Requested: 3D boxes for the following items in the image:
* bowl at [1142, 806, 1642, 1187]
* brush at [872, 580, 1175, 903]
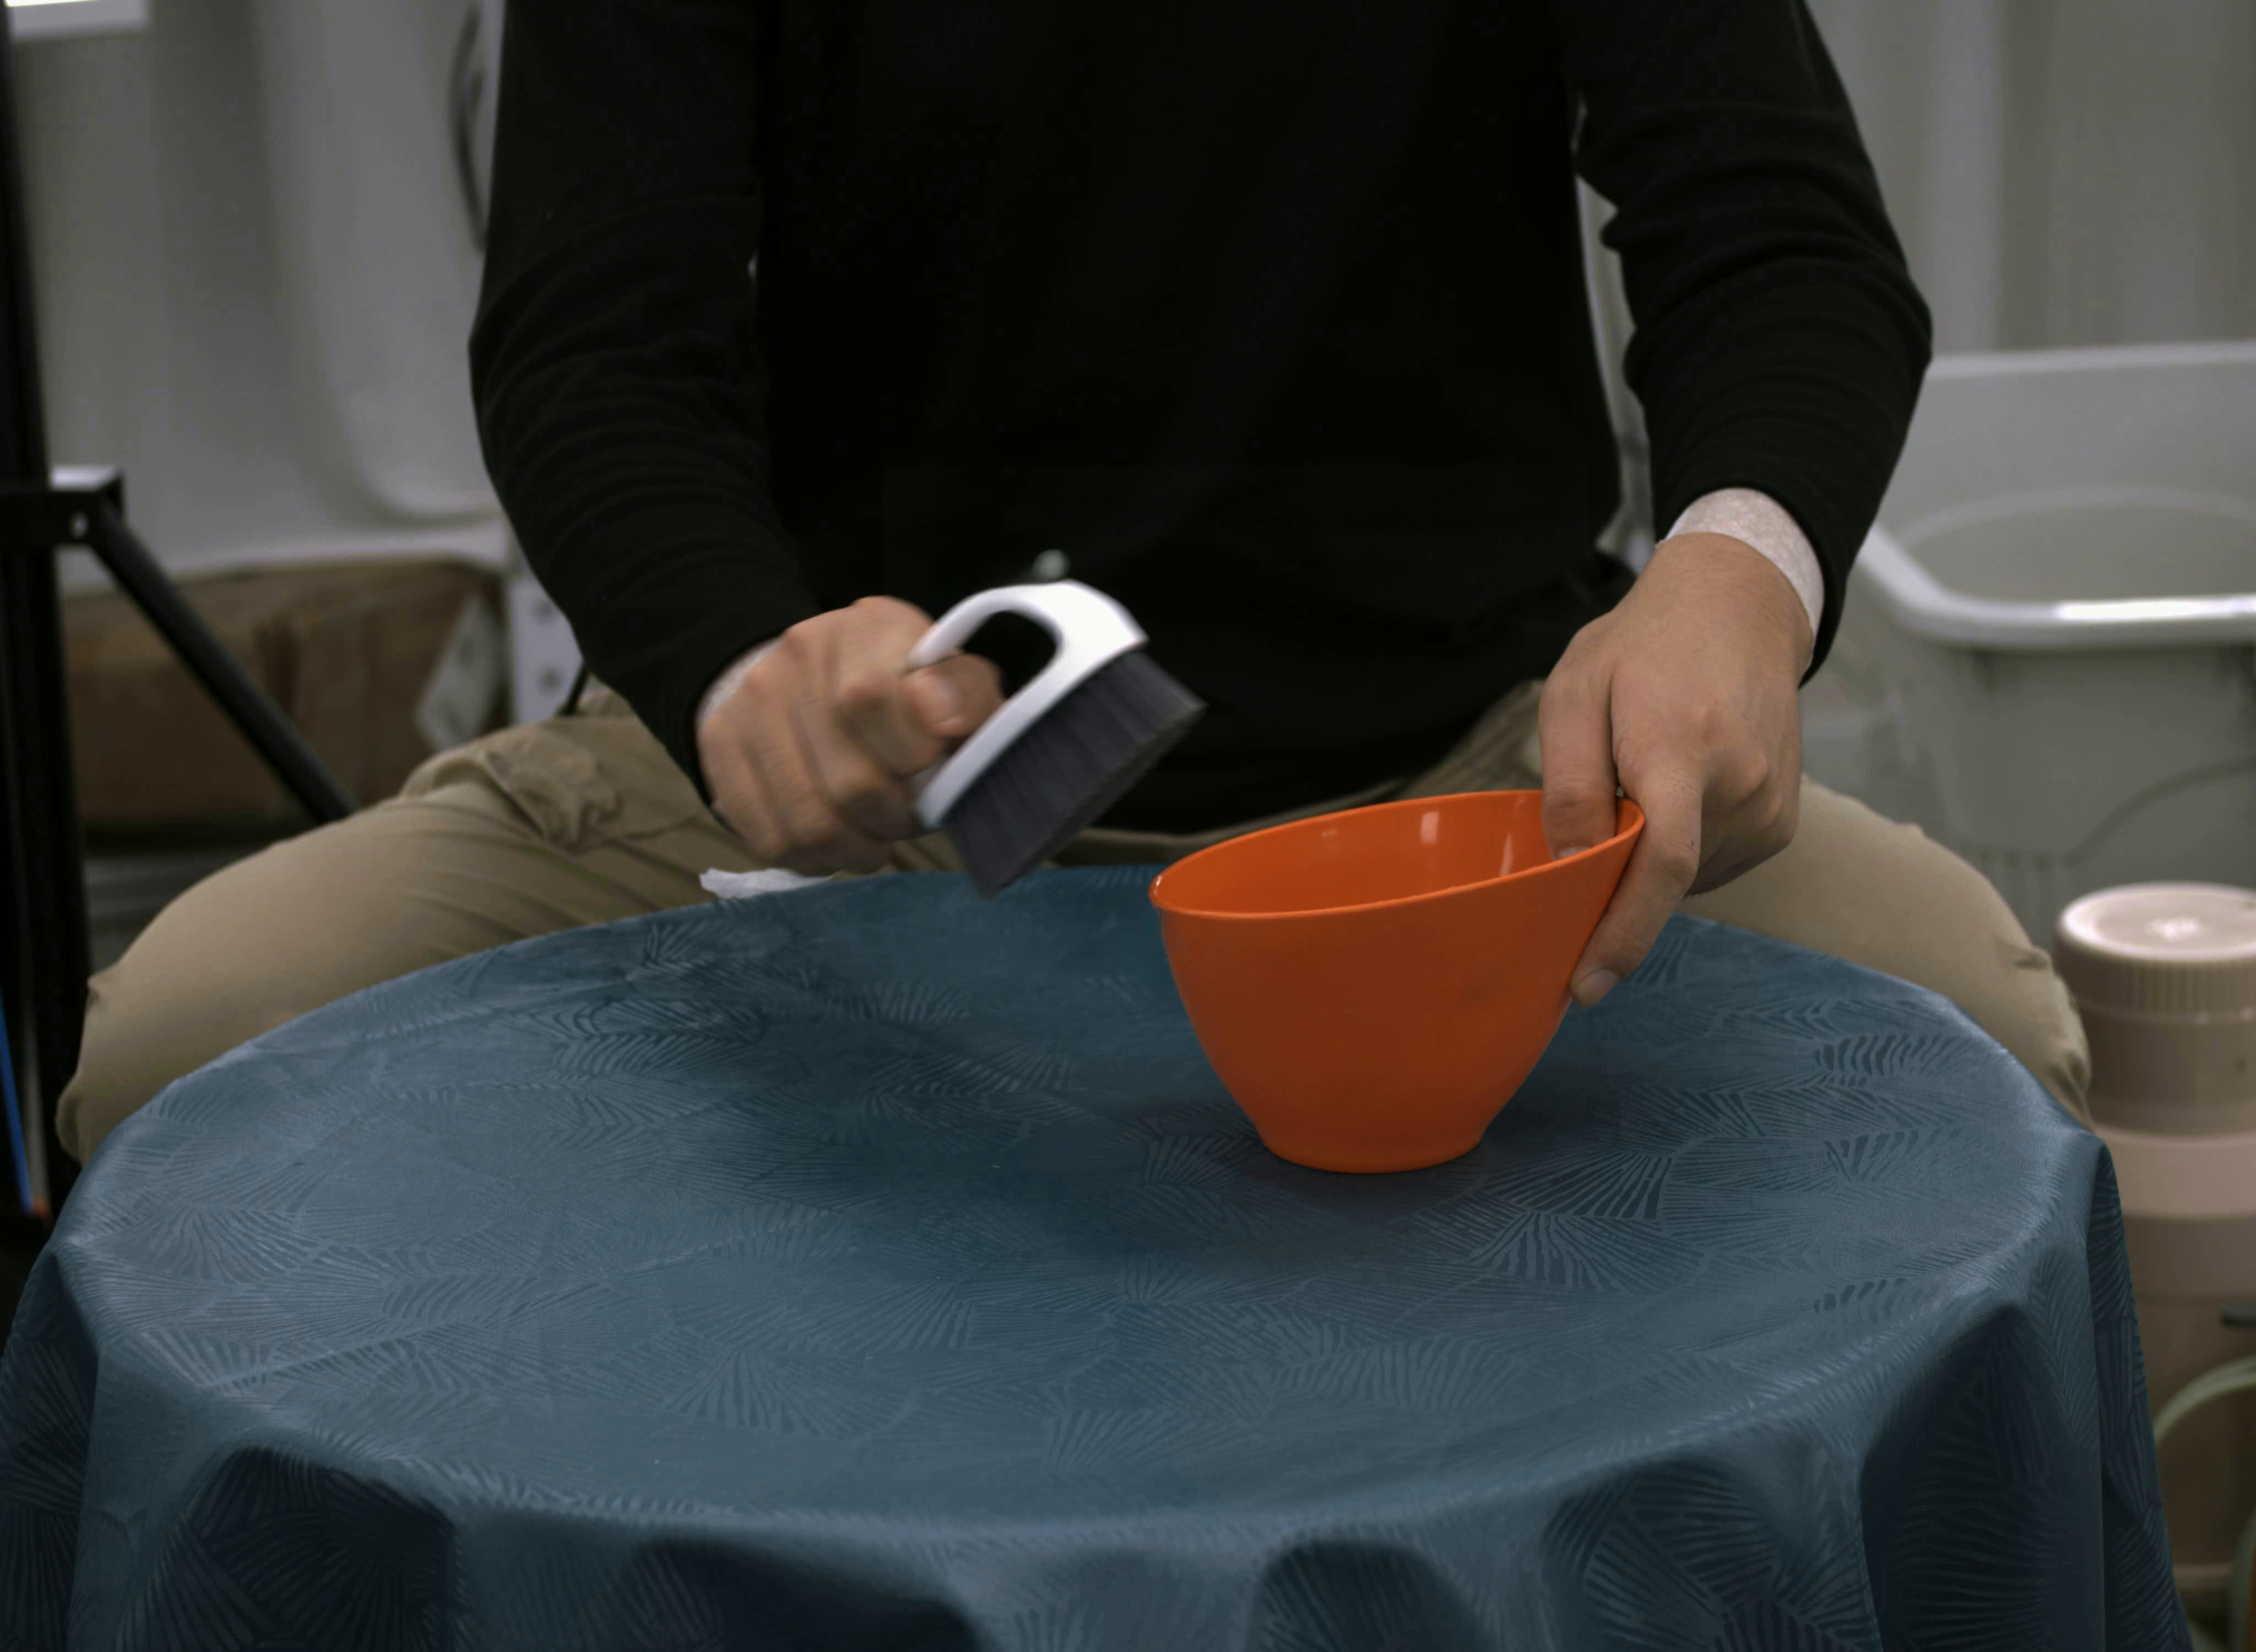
[{"bbox_3d":[0.078,0.050,1.573,0.147,0.104,0.149,-2,14,-1],"label":"bowl"},{"bbox_3d":[-0.039,-0.032,1.585,0.049,0.073,0.100,-34,-10,-42],"label":"brush"}]
